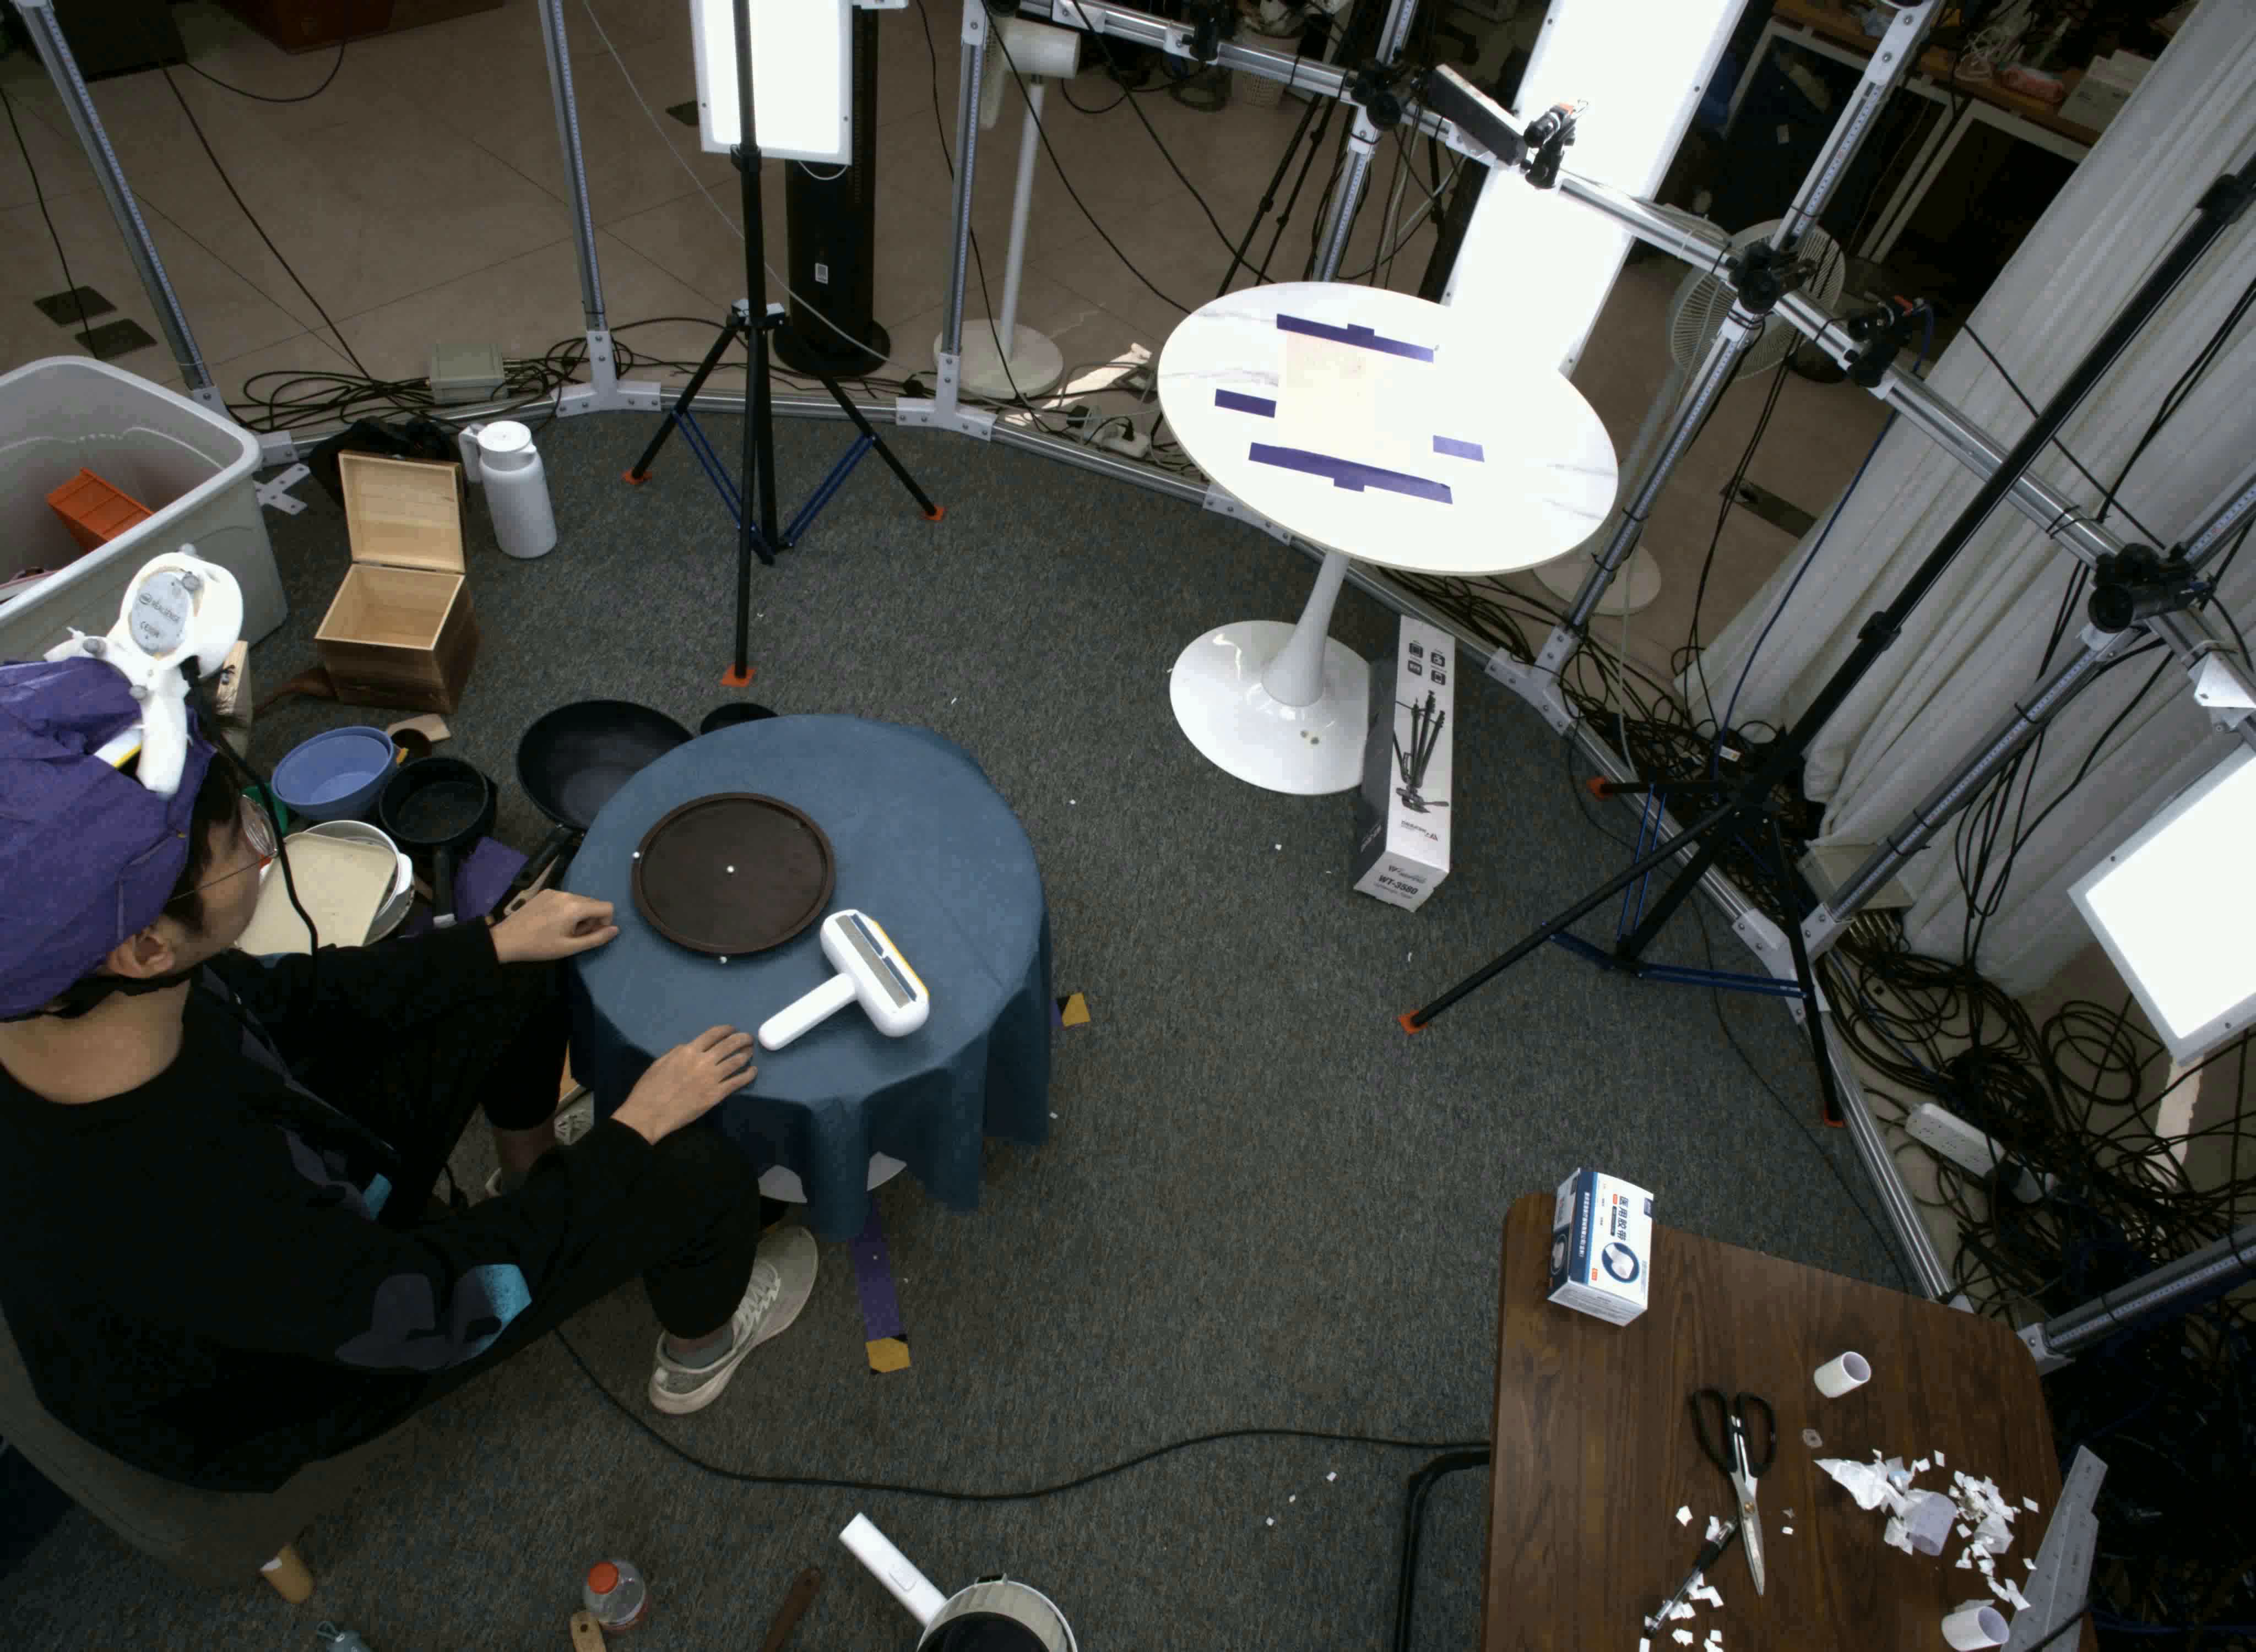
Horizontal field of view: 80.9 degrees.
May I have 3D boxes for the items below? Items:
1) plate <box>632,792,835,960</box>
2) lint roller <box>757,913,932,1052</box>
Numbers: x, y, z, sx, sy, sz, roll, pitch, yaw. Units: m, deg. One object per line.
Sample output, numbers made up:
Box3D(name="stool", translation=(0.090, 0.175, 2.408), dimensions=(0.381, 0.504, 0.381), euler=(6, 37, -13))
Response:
Box3D(name="plate", translation=(-0.502, 0.060, 1.650), dimensions=(0.254, 0.029, 0.250), euler=(7, 54, -8))
Box3D(name="lint roller", translation=(-0.354, 0.204, 1.554), dimensions=(0.193, 0.076, 0.187), euler=(-22, 57, -26))
